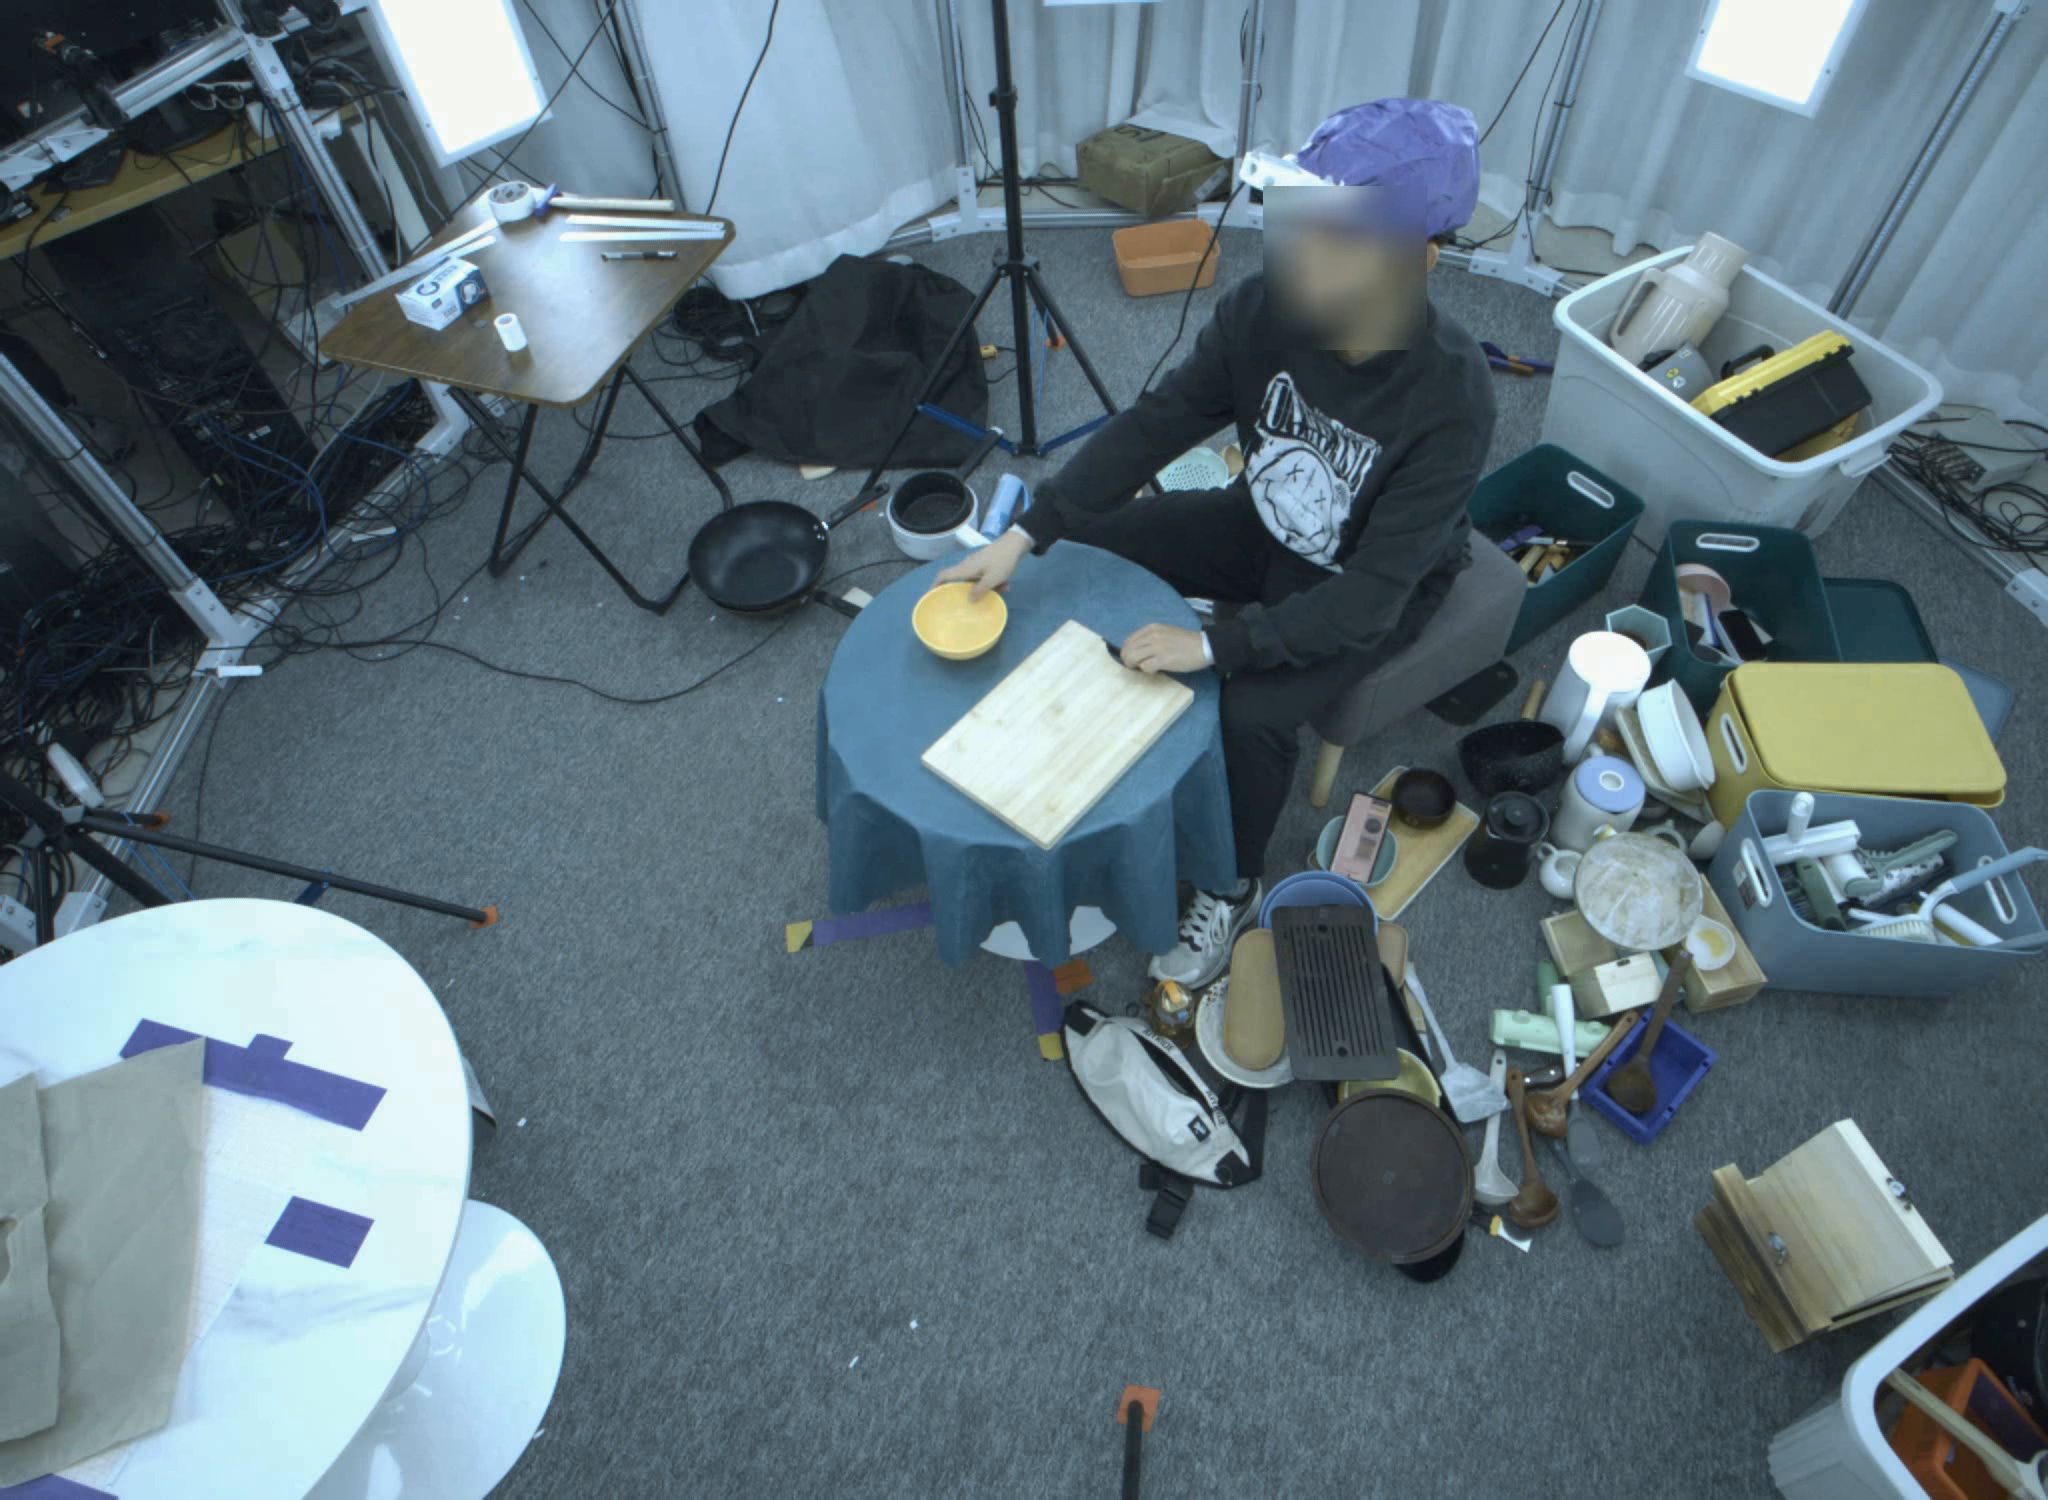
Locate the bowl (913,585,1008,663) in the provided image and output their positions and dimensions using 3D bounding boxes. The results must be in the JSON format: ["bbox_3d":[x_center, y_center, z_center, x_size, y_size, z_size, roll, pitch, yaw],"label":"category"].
[{"bbox_3d":[-0.097,-0.184,1.895,0.145,0.060,0.144,1,55,-1],"label":"bowl"}]

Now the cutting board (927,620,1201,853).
[{"bbox_3d":[0.059,-0.031,1.808,0.246,0.024,0.350,33,62,22],"label":"cutting board"}]
